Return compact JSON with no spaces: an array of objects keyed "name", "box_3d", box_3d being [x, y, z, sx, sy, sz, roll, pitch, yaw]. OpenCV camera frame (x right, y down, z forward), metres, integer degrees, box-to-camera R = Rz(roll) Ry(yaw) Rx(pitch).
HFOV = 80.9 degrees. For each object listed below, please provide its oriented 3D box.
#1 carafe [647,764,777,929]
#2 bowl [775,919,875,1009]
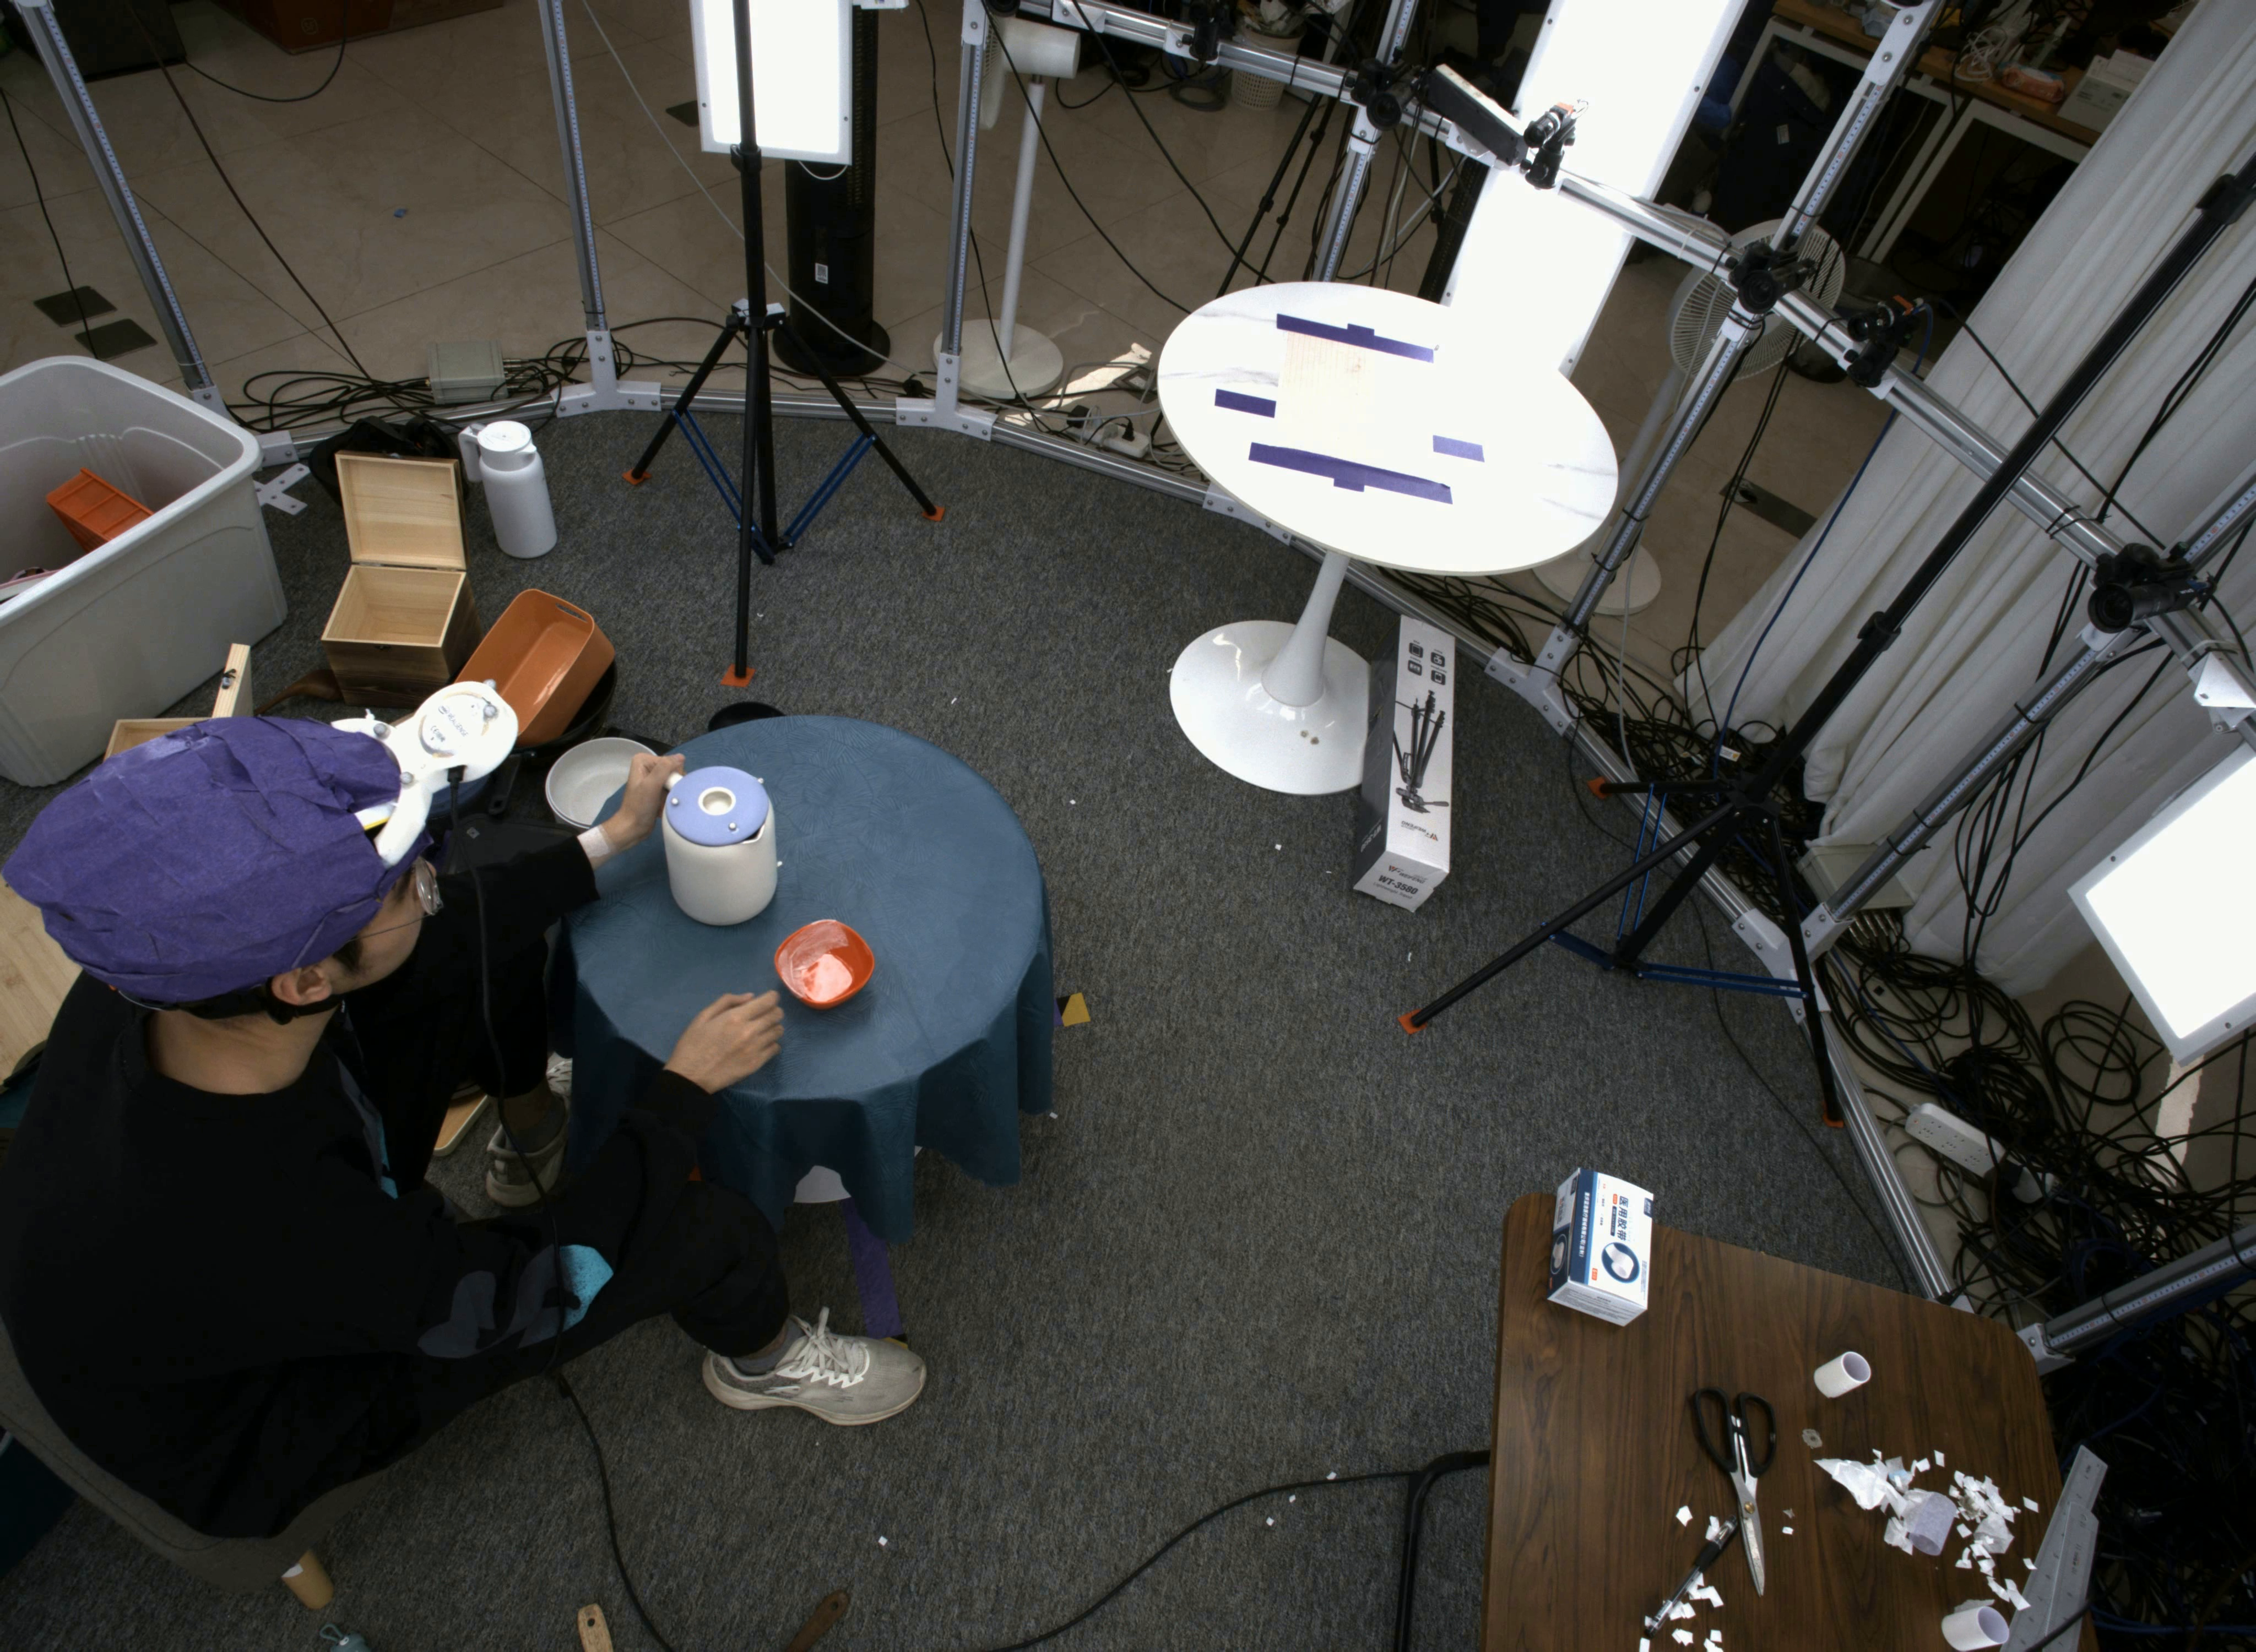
[{"name":"carafe","box_3d":[-0.519,0.011,1.586,0.187,0.187,0.132,32,51,14]},{"name":"bowl","box_3d":[-0.370,0.175,1.581,0.119,0.052,0.117,10,52,-11]}]
